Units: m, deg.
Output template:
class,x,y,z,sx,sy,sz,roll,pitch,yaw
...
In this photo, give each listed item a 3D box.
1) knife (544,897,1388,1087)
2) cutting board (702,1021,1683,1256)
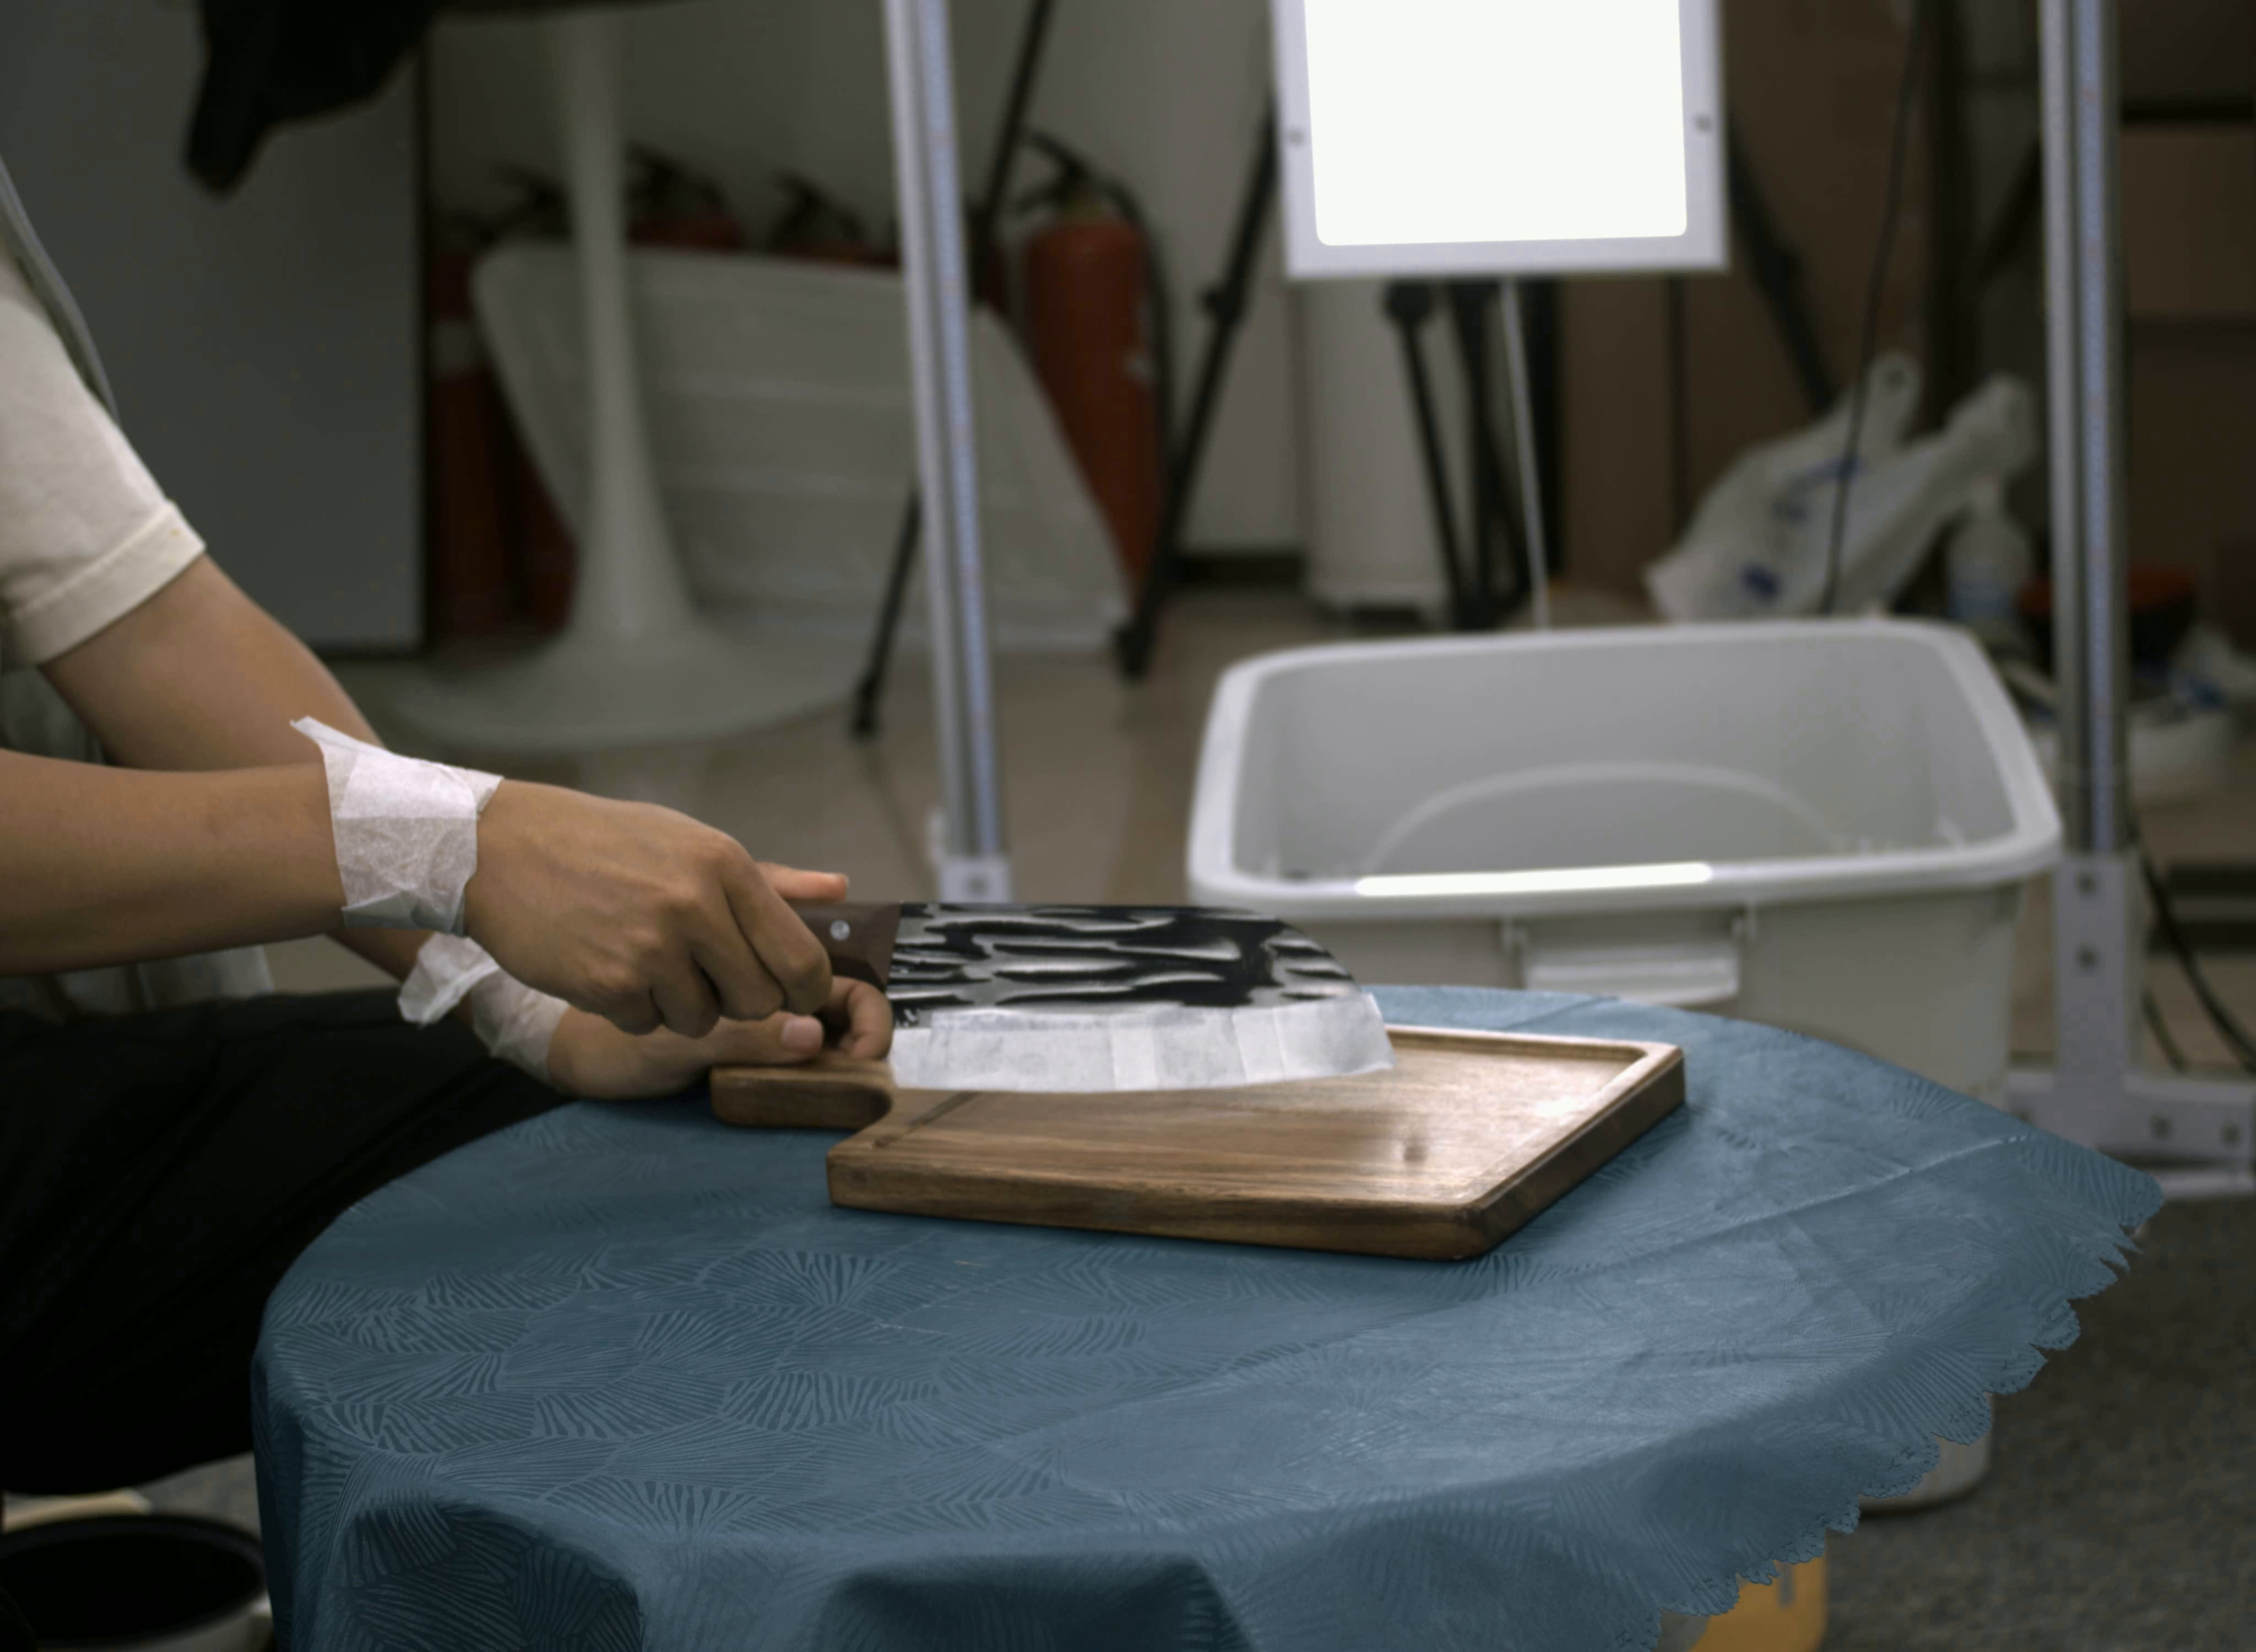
class,x,y,z,sx,sy,sz,roll,pitch,yaw
knife,-0.057,0.059,1.938,0.298,0.068,0.024,2,-11,0
cutting board,0.002,0.102,1.953,0.359,0.023,0.196,2,15,30
